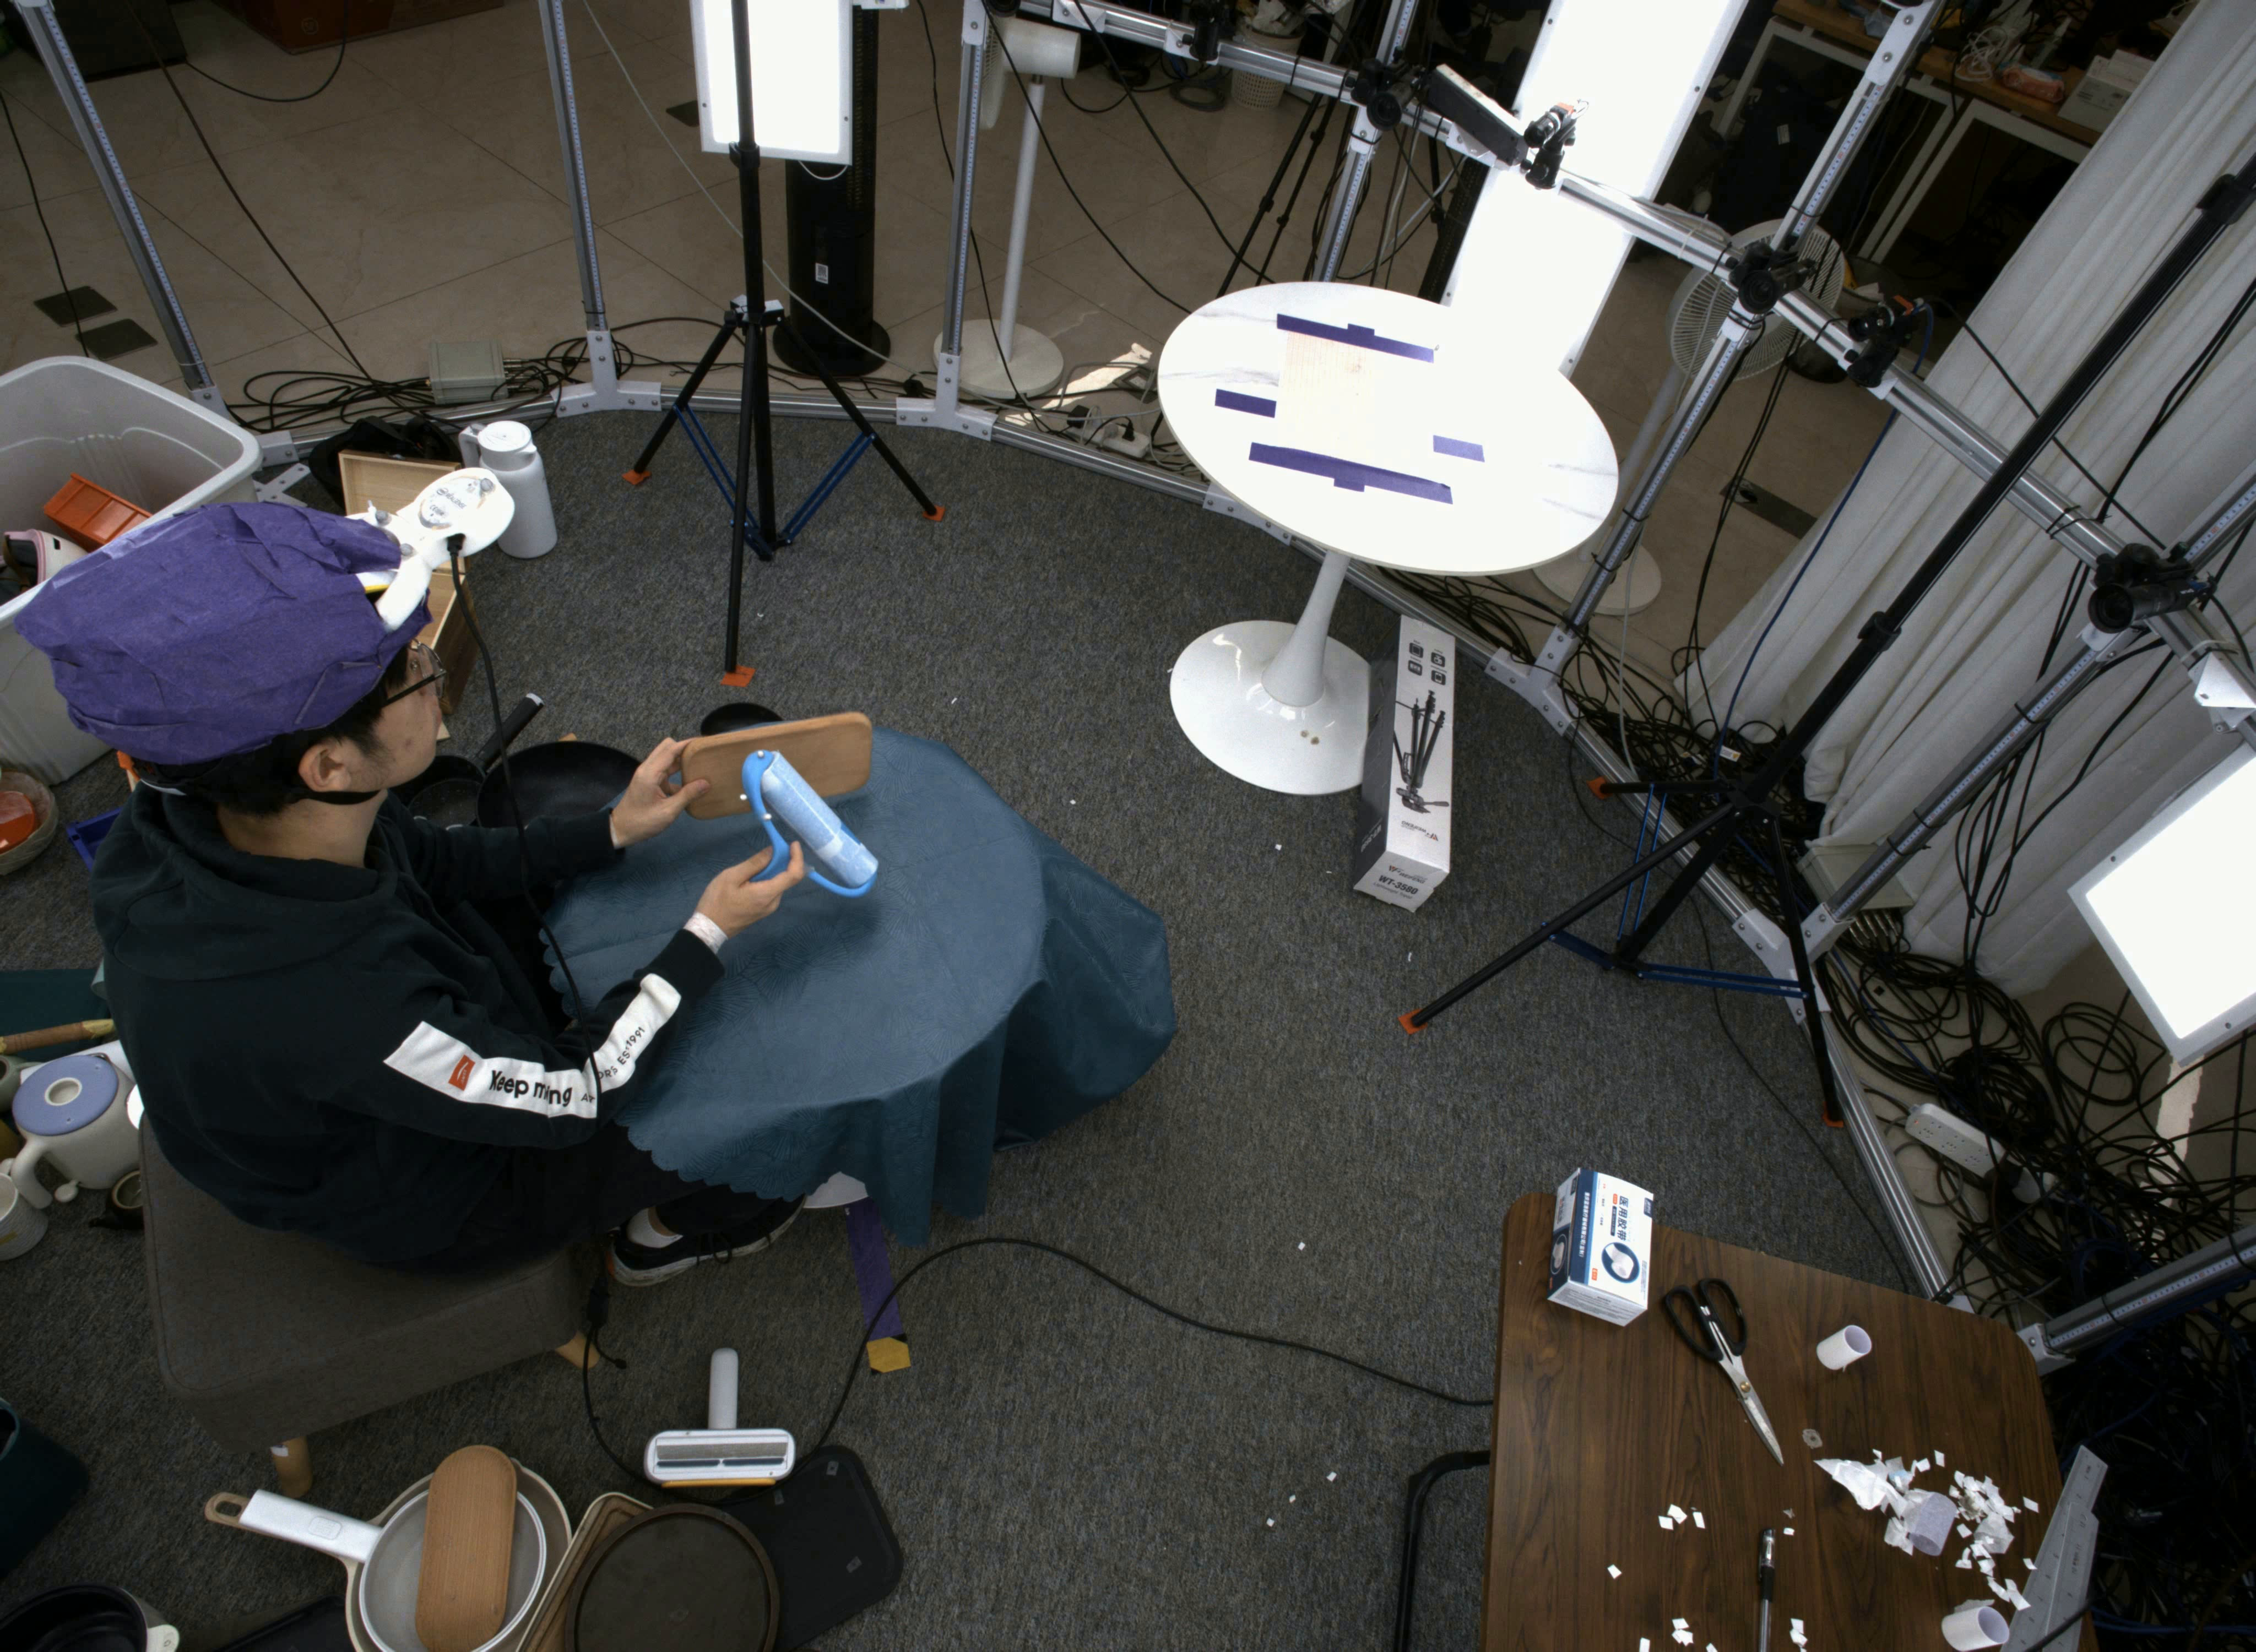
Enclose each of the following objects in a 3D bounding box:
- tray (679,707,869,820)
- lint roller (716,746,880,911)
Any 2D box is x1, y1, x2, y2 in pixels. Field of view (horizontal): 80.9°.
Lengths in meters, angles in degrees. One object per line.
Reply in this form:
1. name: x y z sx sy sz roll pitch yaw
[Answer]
1. tray: -0.452 -0.081 1.674 0.252 0.134 0.022 -16 46 -29
2. lint roller: -0.421 0.037 1.565 0.180 0.237 0.065 -50 34 -15
